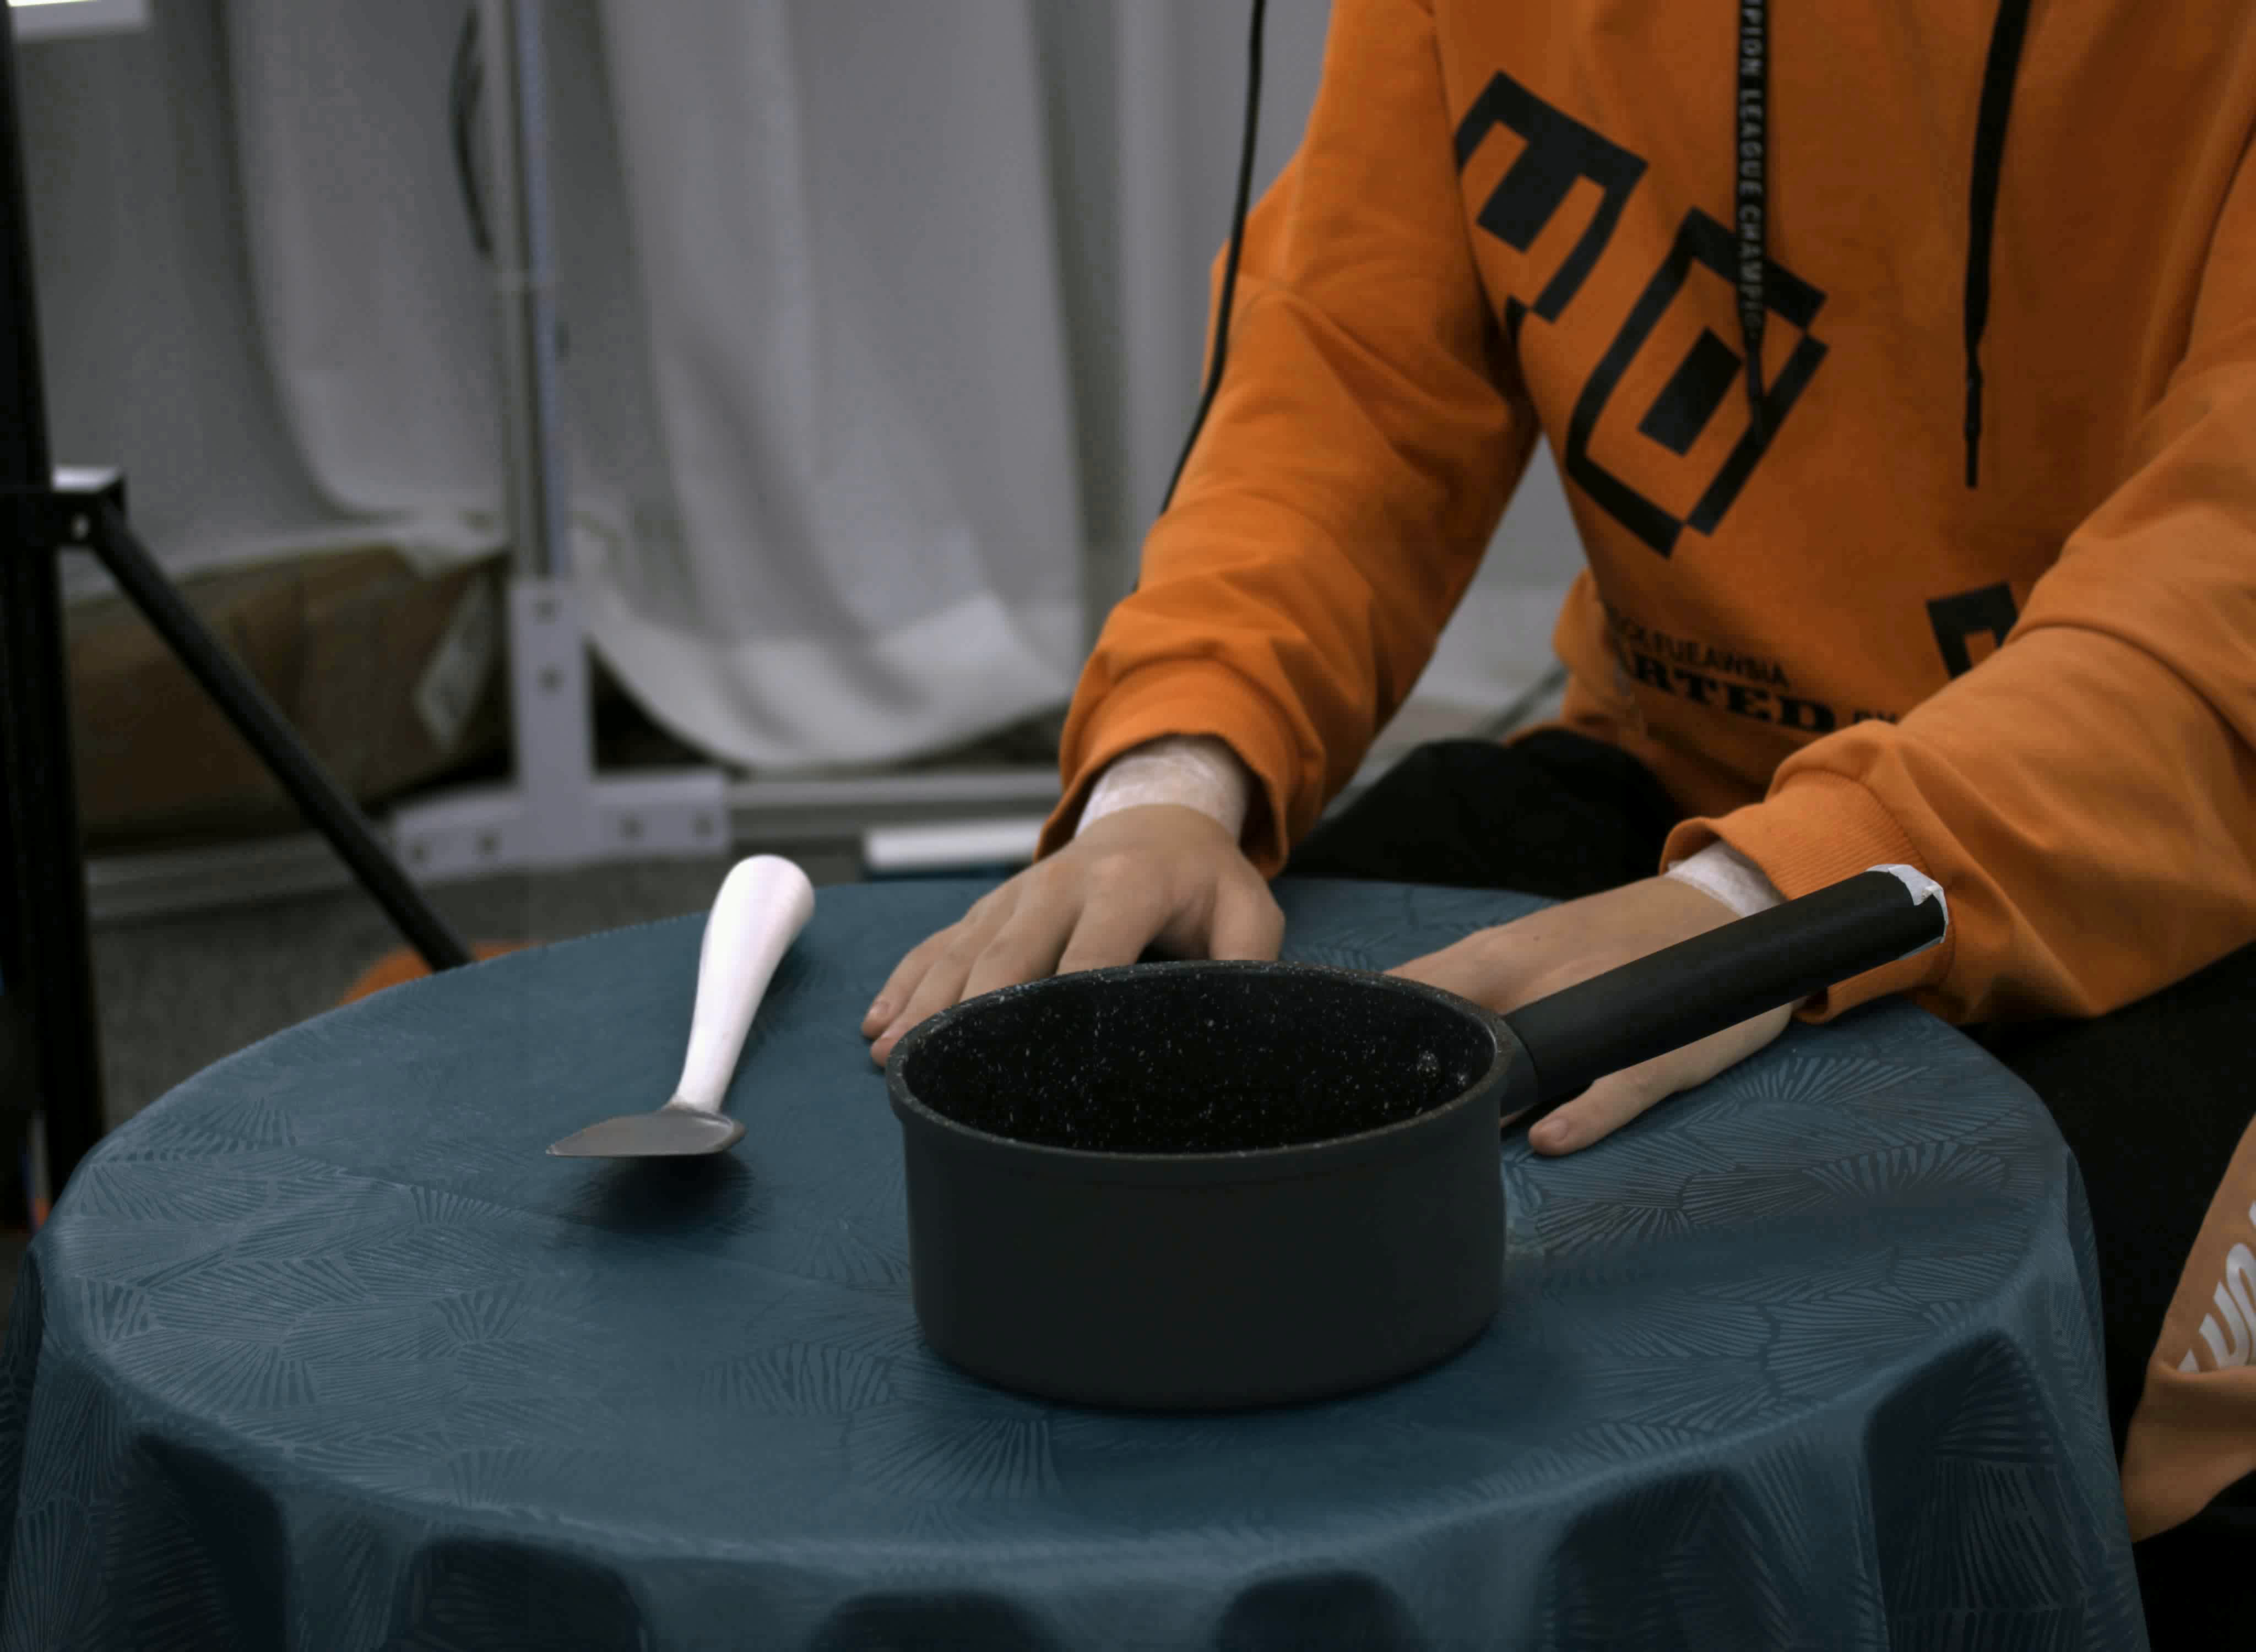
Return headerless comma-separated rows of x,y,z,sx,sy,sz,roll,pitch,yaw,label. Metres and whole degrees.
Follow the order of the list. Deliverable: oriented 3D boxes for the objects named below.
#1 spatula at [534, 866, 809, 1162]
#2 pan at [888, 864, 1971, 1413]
-0.134,0.066,1.671,0.058,0.032,0.287,4,15,3,spatula
0.092,0.082,1.479,0.322,0.086,0.175,-11,18,-22,pan
